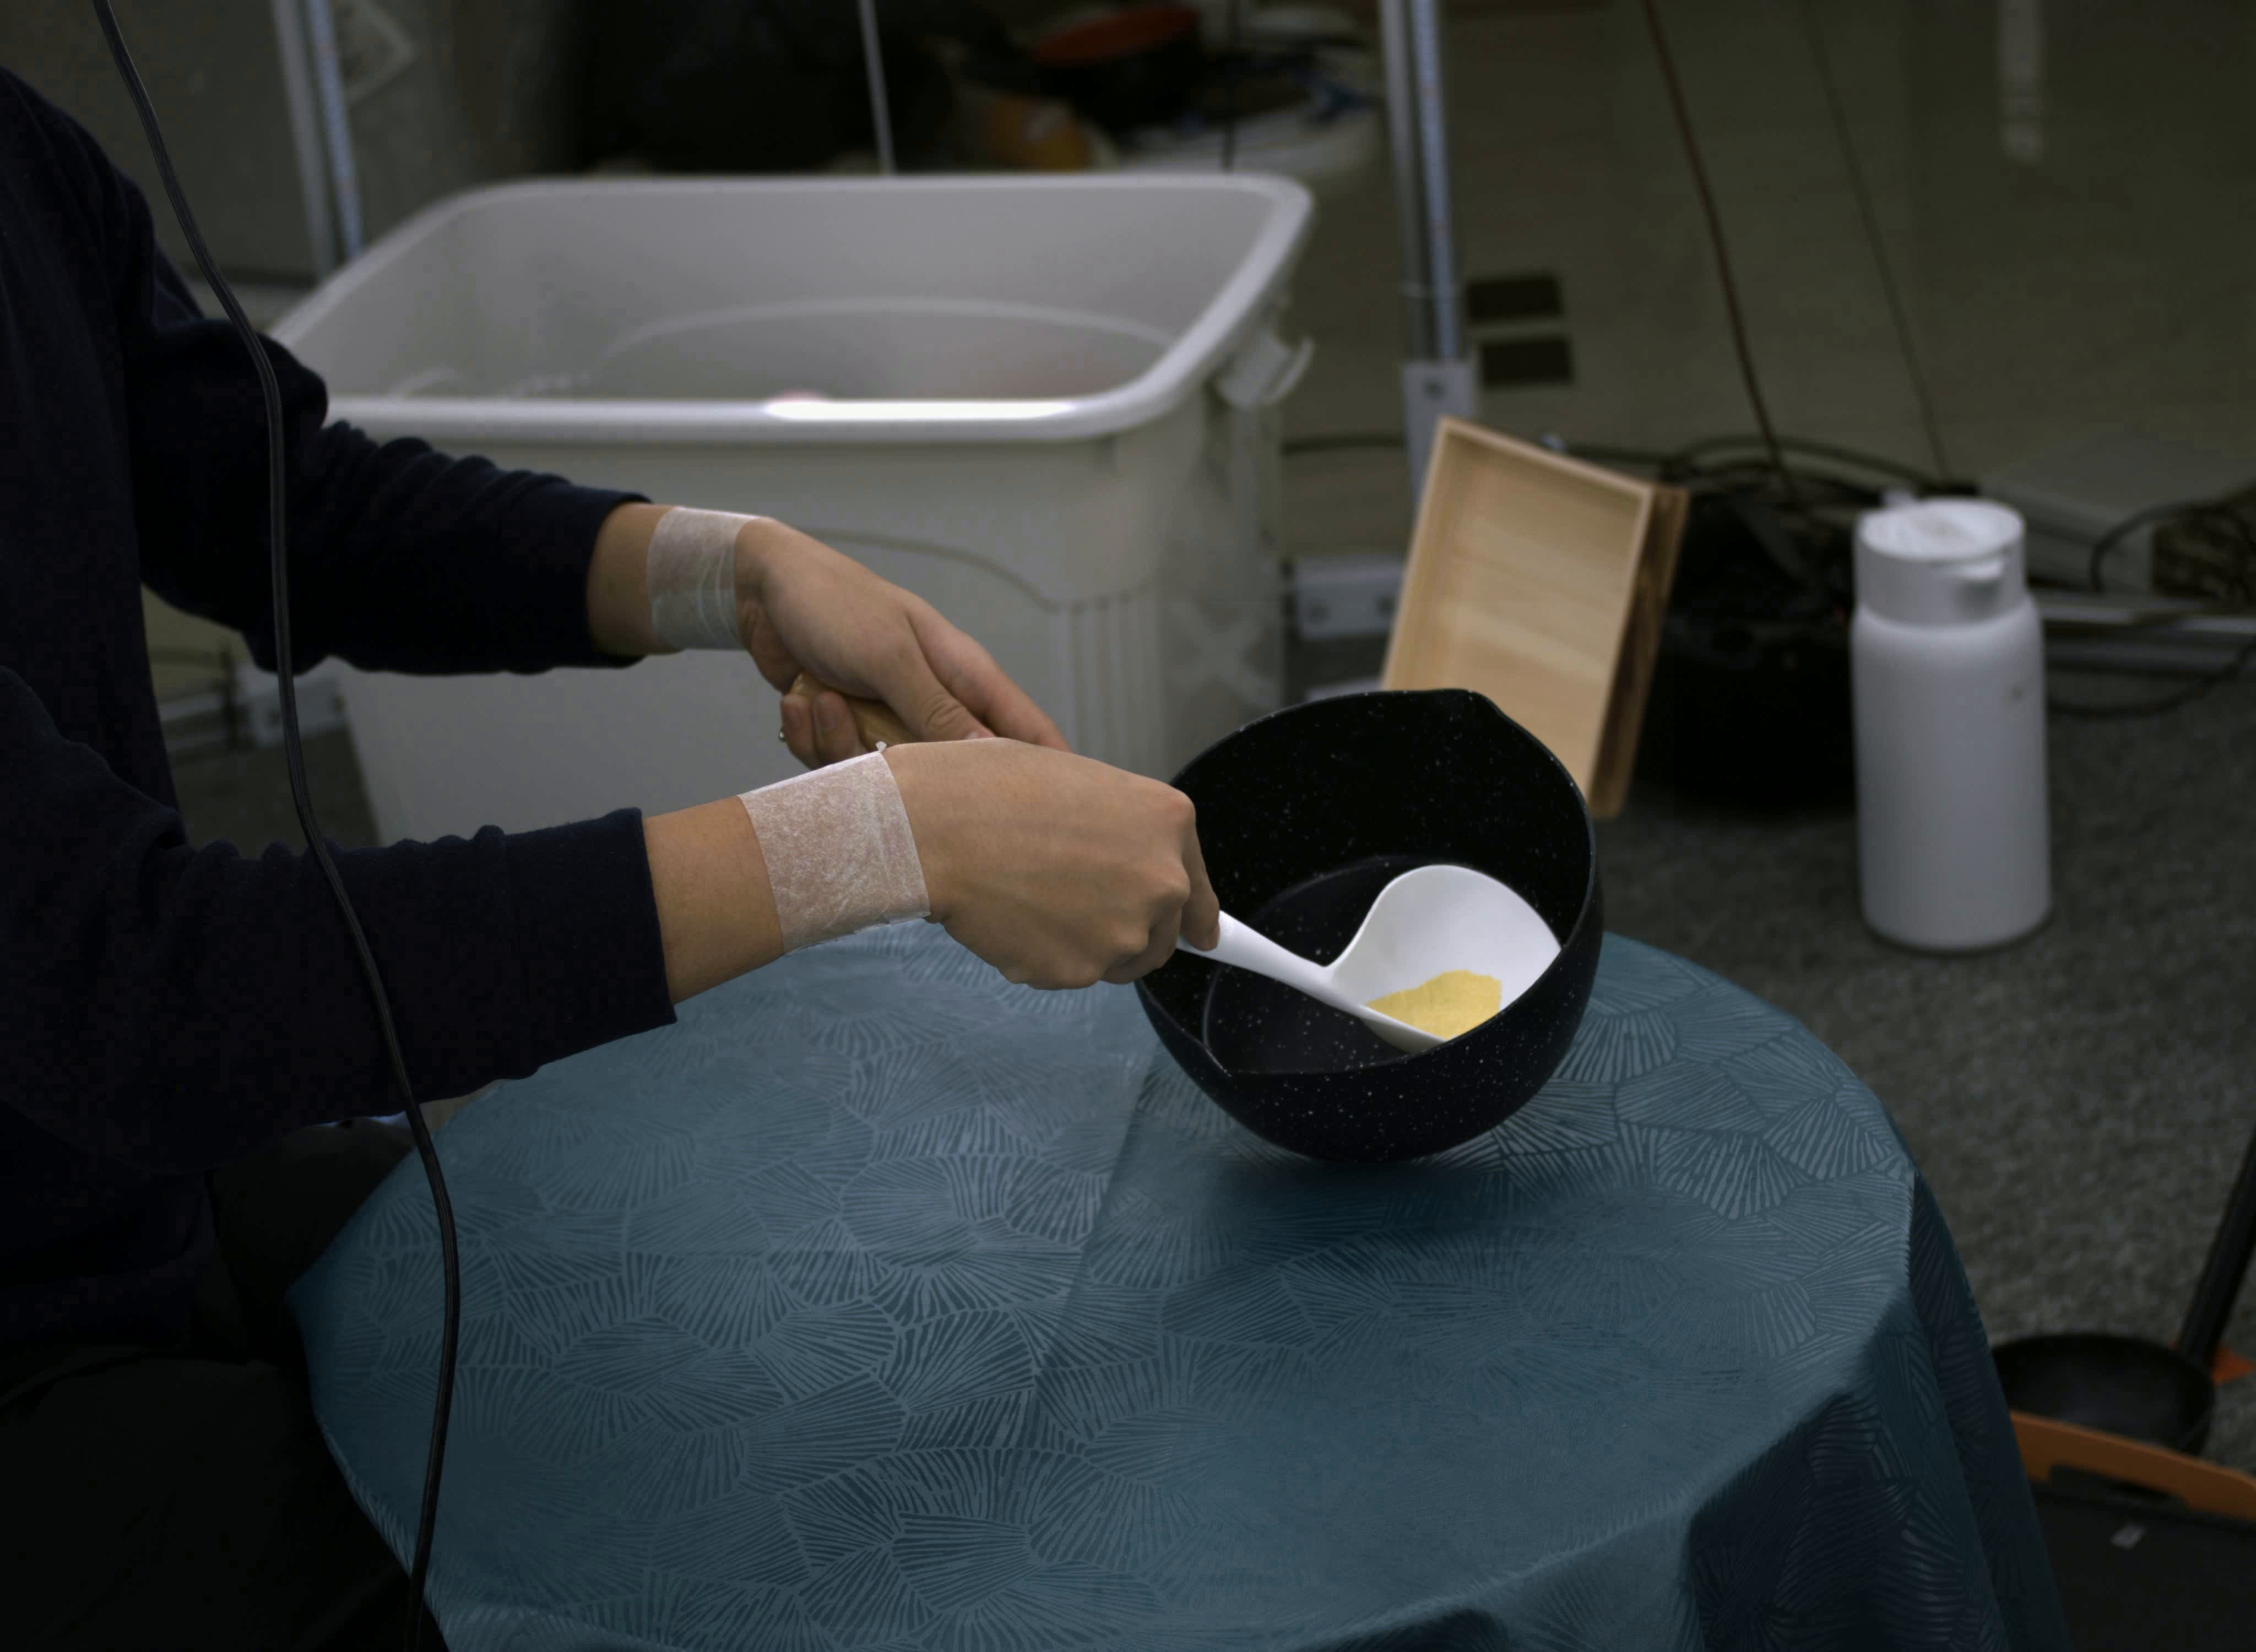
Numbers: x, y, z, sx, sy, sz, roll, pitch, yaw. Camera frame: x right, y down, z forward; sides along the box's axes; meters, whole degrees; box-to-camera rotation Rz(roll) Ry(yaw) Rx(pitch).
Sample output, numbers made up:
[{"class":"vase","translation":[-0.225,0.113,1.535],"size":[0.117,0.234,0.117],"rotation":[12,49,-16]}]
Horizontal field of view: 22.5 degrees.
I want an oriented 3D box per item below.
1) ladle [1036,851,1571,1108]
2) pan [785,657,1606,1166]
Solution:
[{"class":"ladle","translation":[0.068,0.045,2.040],"size":[0.070,0.089,0.295],"rotation":[-22,-21,24]},{"class":"pan","translation":[0.022,0.018,2.186],"size":[0.341,0.110,0.205],"rotation":[17,59,24]}]
